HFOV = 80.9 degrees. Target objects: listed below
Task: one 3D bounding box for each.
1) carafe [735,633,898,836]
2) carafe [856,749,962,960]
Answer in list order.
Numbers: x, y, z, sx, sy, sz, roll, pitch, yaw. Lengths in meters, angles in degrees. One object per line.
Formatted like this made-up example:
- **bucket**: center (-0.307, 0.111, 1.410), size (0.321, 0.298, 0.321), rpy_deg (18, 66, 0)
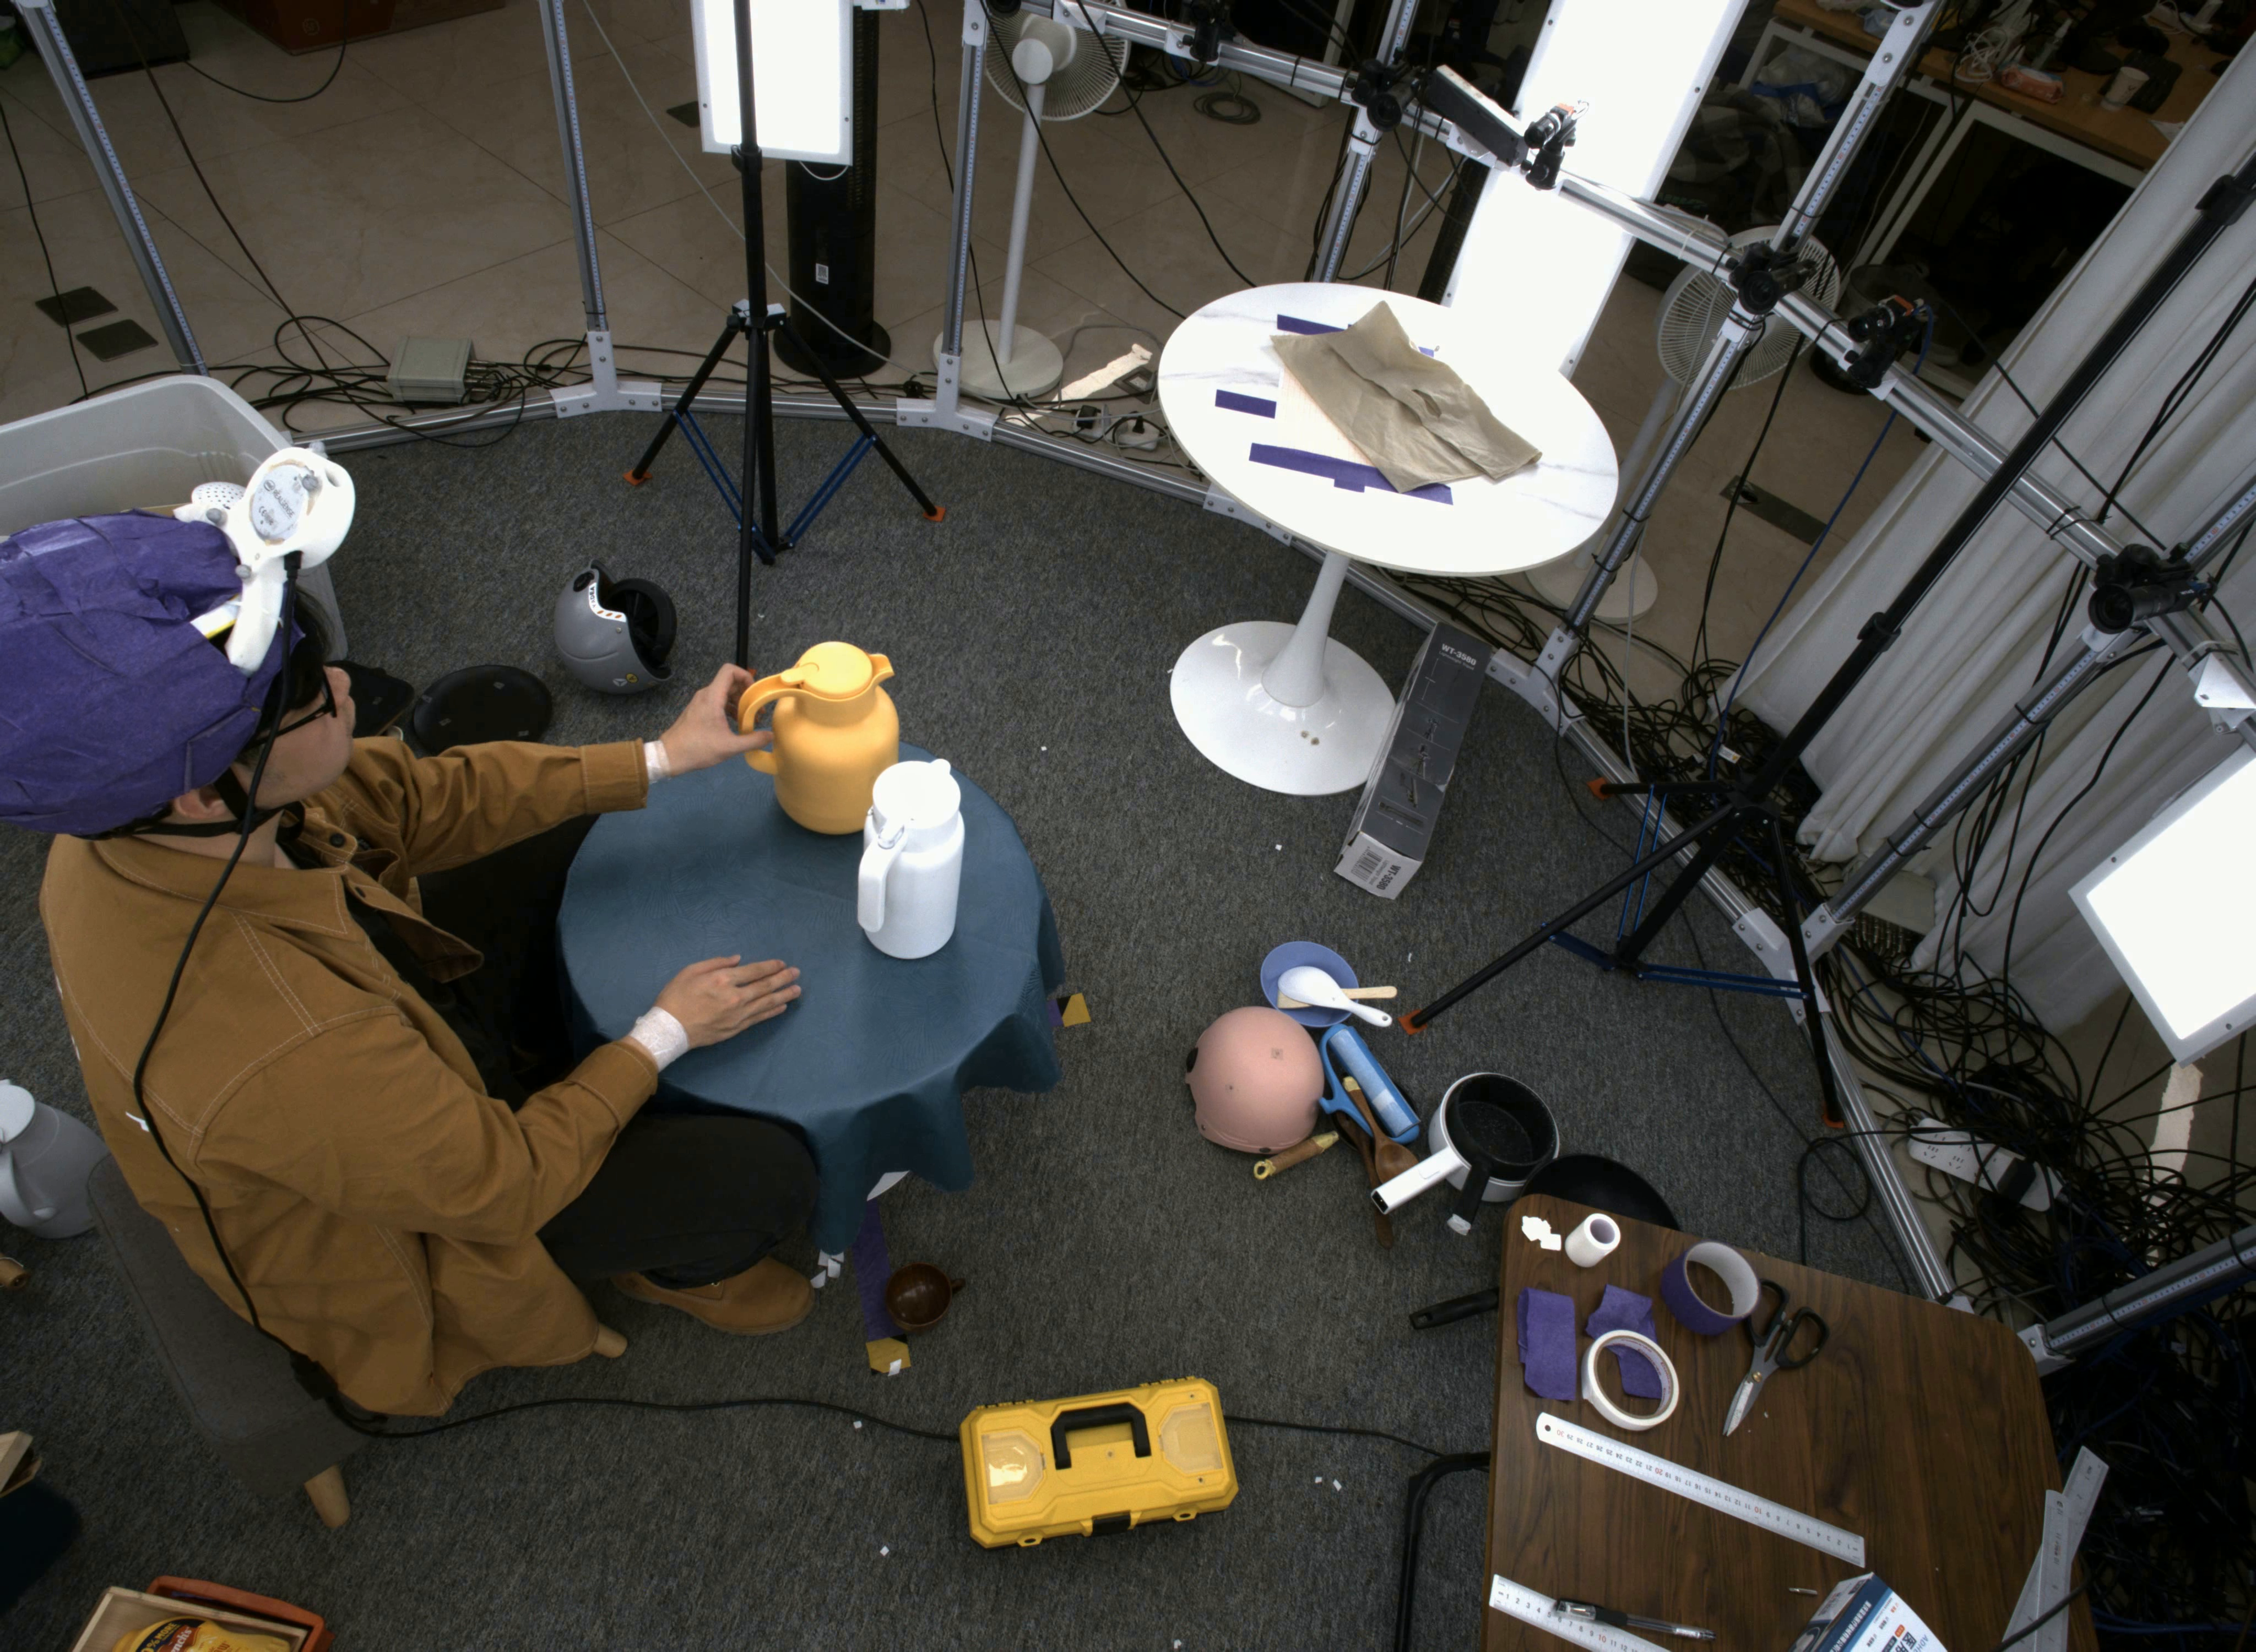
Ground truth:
- **carafe**: center (-0.394, -0.119, 1.648), size (0.203, 0.266, 0.159), rpy_deg (-11, 53, -22)
- **carafe**: center (-0.266, 0.052, 1.550), size (0.122, 0.274, 0.171), rpy_deg (24, 51, 6)
